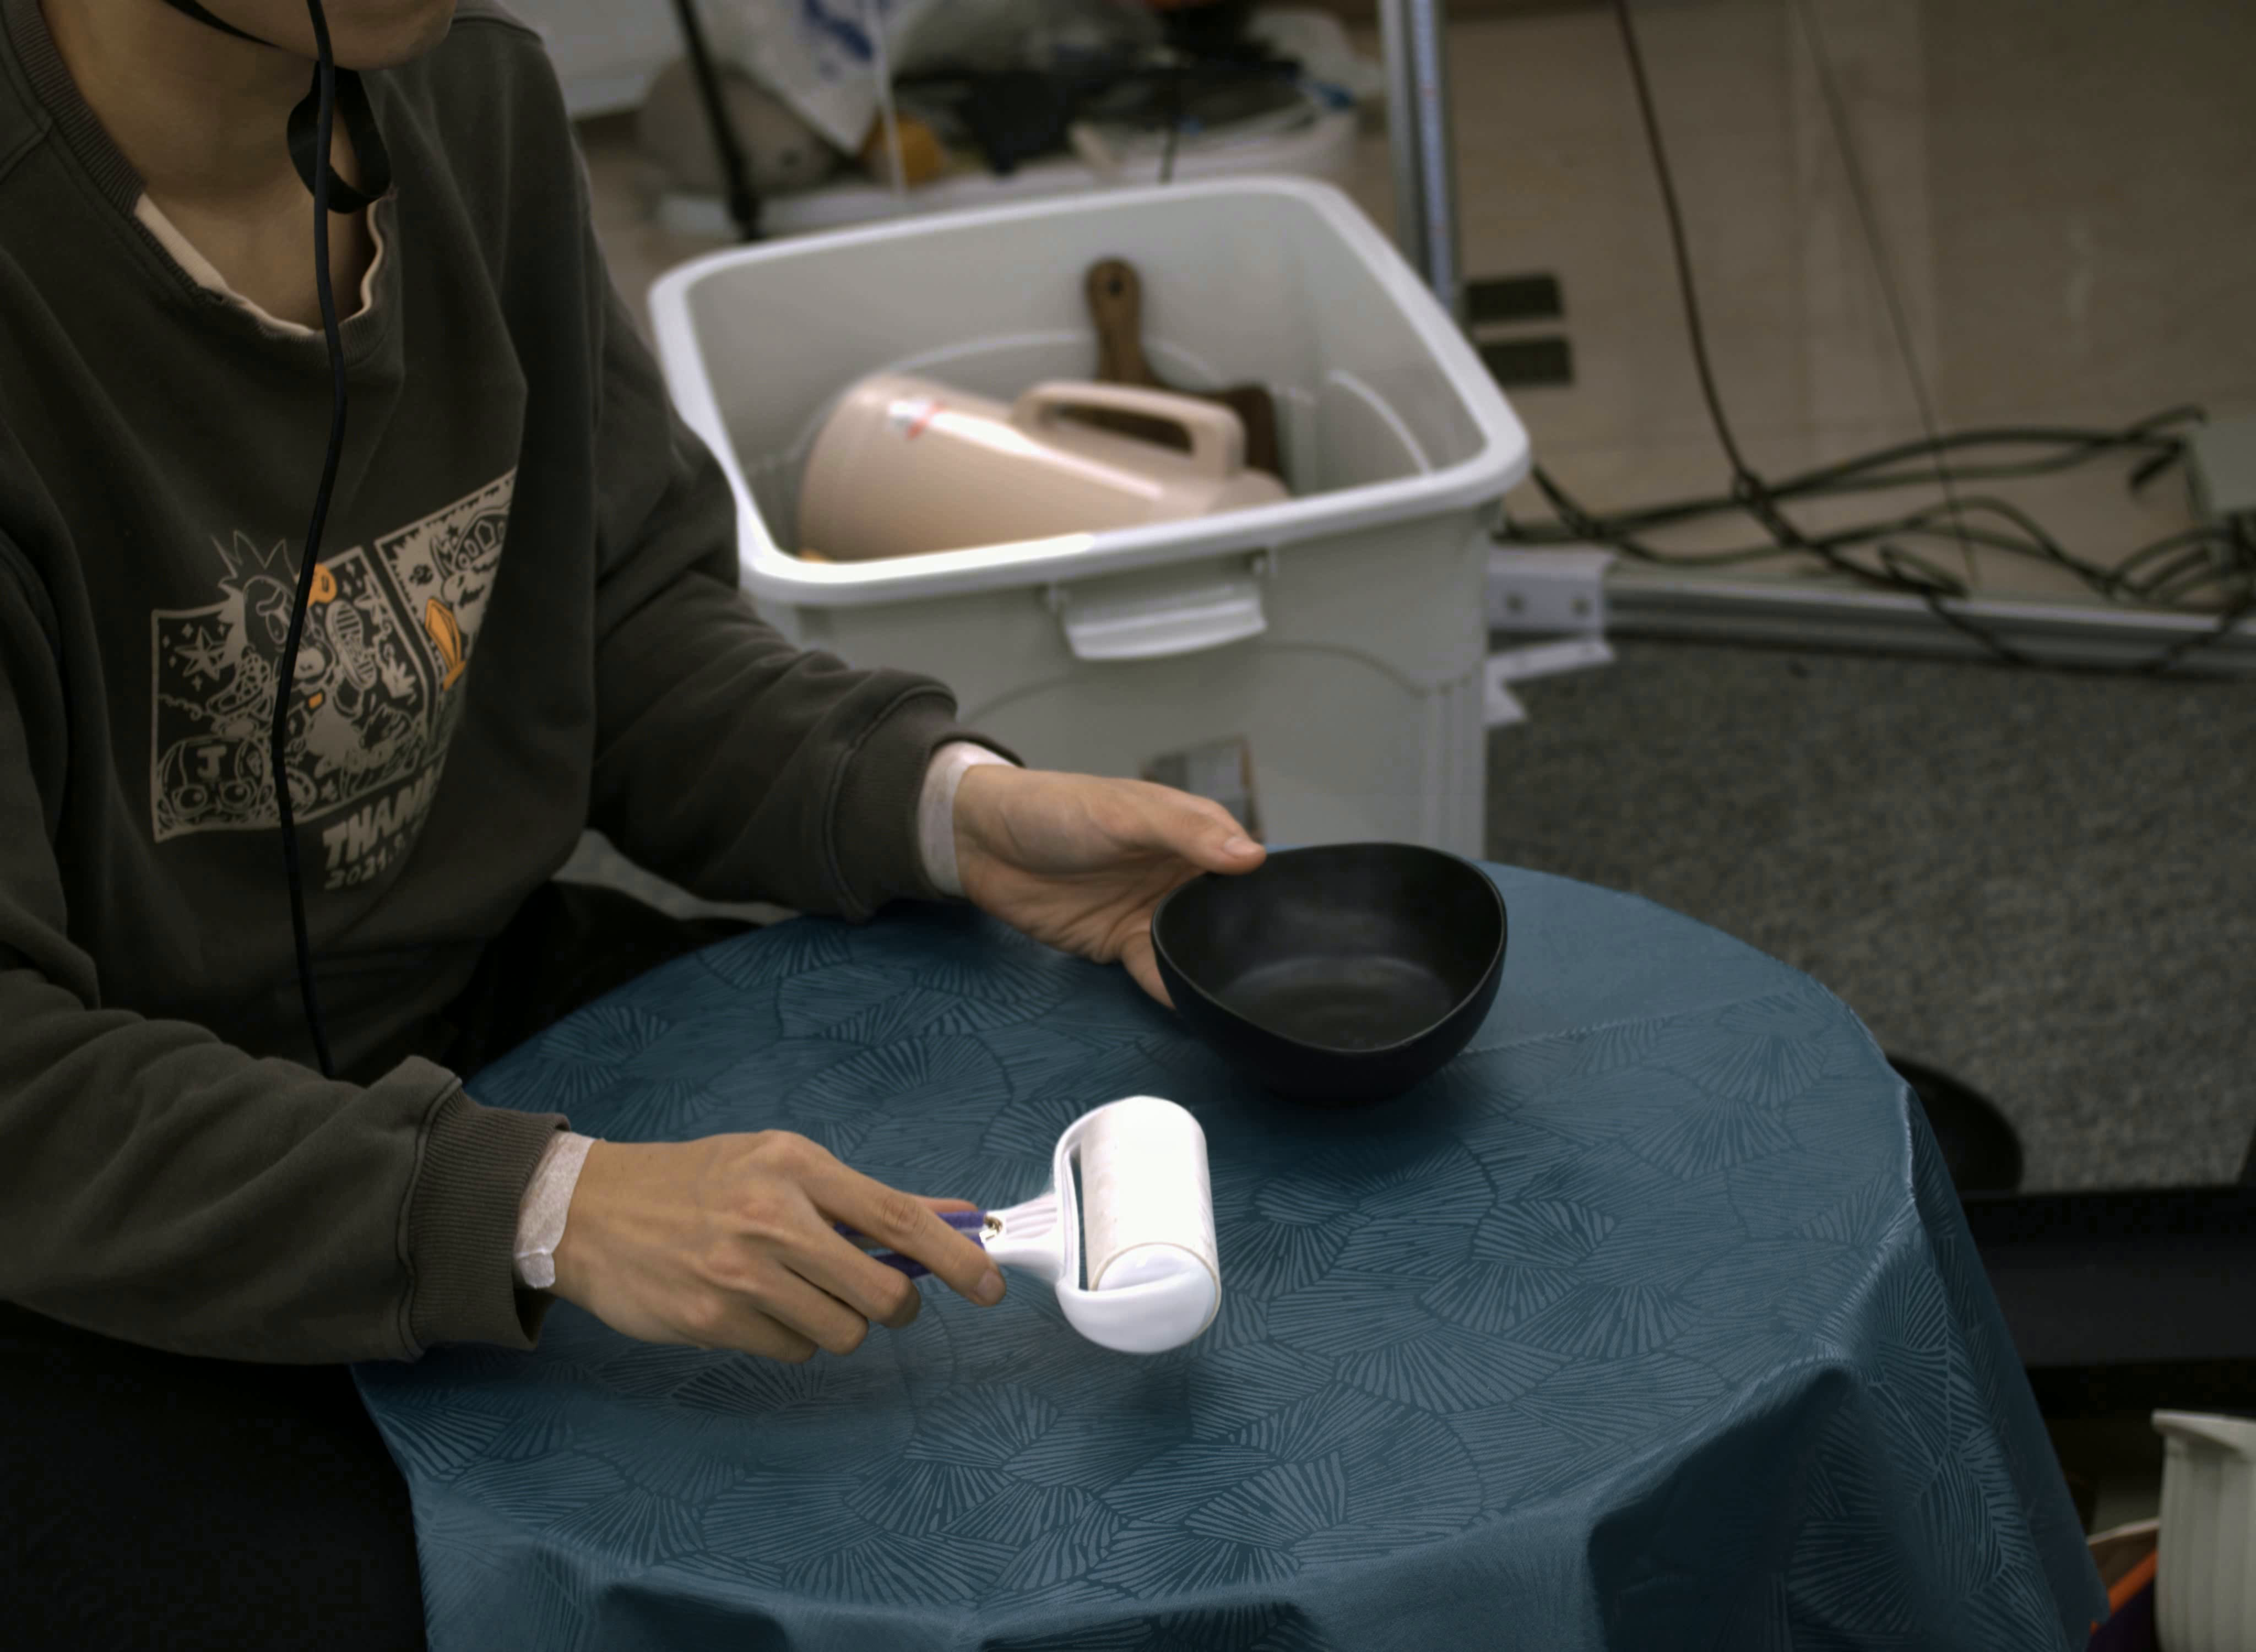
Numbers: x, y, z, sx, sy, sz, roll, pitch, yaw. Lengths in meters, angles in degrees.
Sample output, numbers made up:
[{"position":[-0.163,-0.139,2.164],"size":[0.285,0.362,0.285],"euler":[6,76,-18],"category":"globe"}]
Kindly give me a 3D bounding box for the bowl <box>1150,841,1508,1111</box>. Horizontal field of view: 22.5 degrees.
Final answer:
[{"position":[0.082,0.066,2.207],"size":[0.137,0.068,0.168],"euler":[-12,27,-10],"category":"bowl"}]

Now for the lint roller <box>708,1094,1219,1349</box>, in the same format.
[{"position":[-0.059,0.138,2.016],"size":[0.180,0.051,0.131],"euler":[3,29,-2],"category":"lint roller"}]
